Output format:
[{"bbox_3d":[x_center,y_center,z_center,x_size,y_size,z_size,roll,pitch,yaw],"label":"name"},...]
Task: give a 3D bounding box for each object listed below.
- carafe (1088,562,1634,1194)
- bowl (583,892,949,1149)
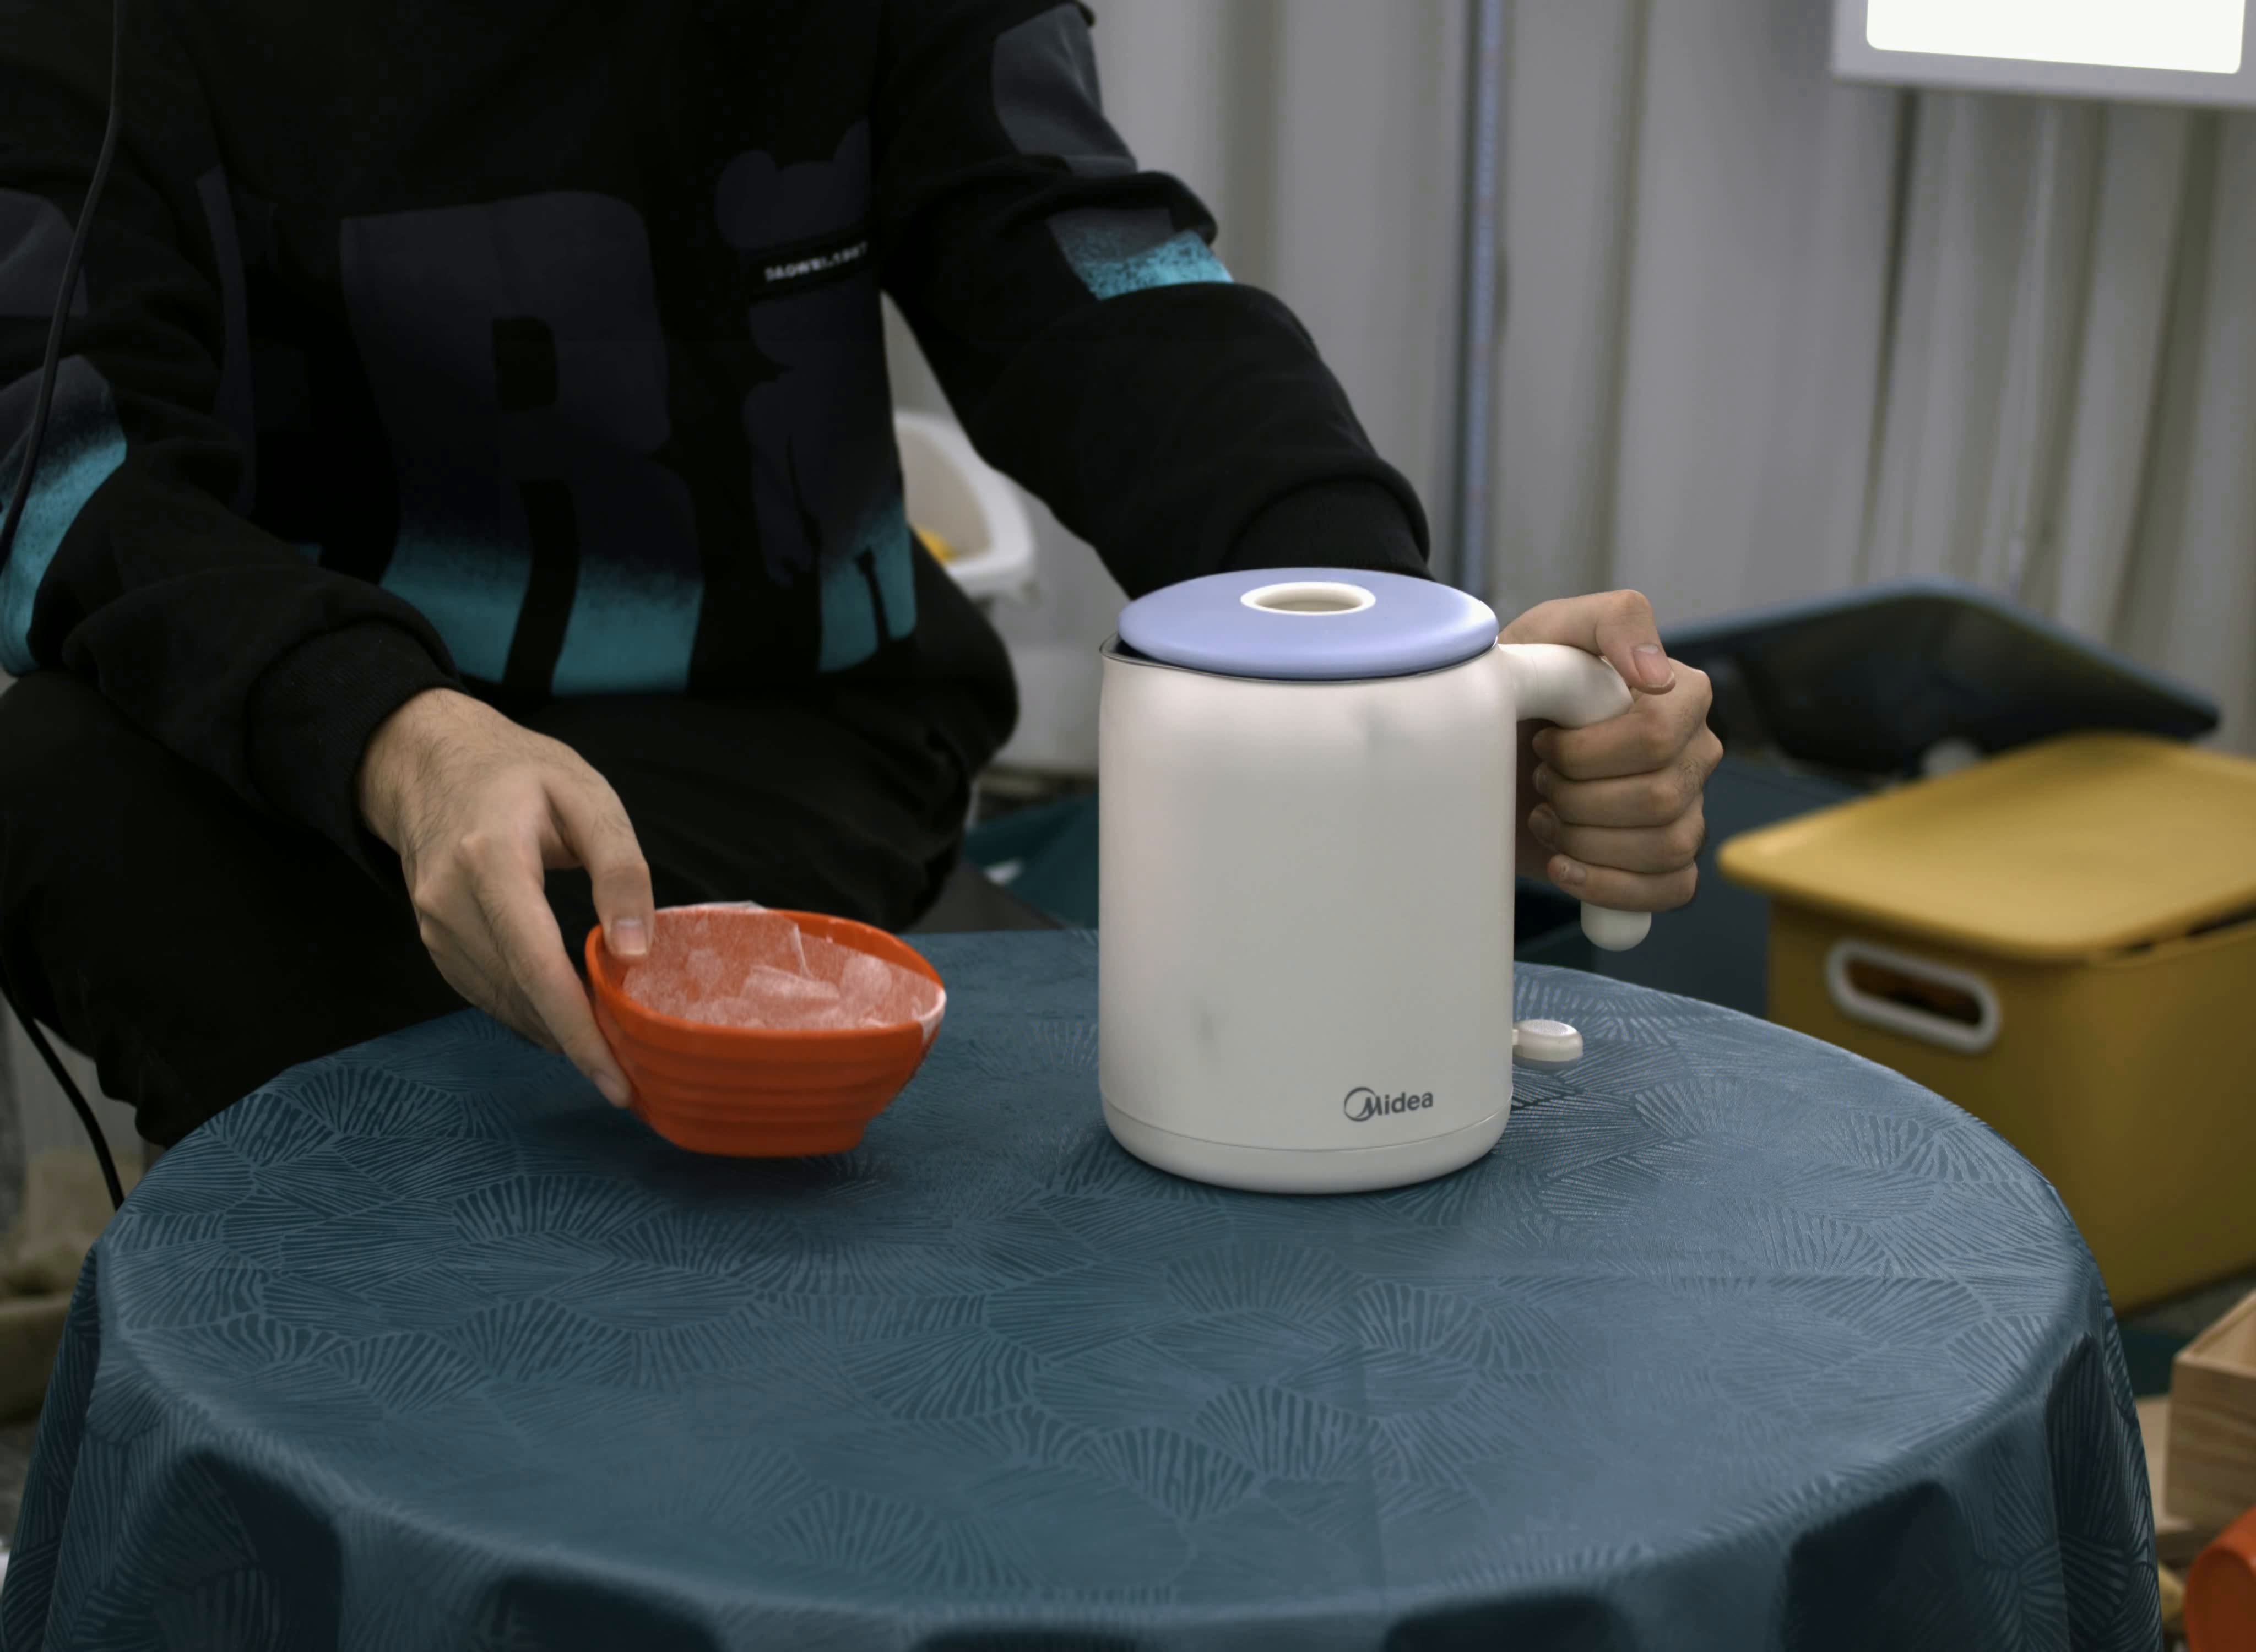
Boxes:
[{"bbox_3d":[0.077,0.013,1.659,0.192,0.184,0.130,-4,18,-24],"label":"carafe"},{"bbox_3d":[-0.114,0.063,1.628,0.118,0.052,0.118,6,21,-2],"label":"bowl"}]
